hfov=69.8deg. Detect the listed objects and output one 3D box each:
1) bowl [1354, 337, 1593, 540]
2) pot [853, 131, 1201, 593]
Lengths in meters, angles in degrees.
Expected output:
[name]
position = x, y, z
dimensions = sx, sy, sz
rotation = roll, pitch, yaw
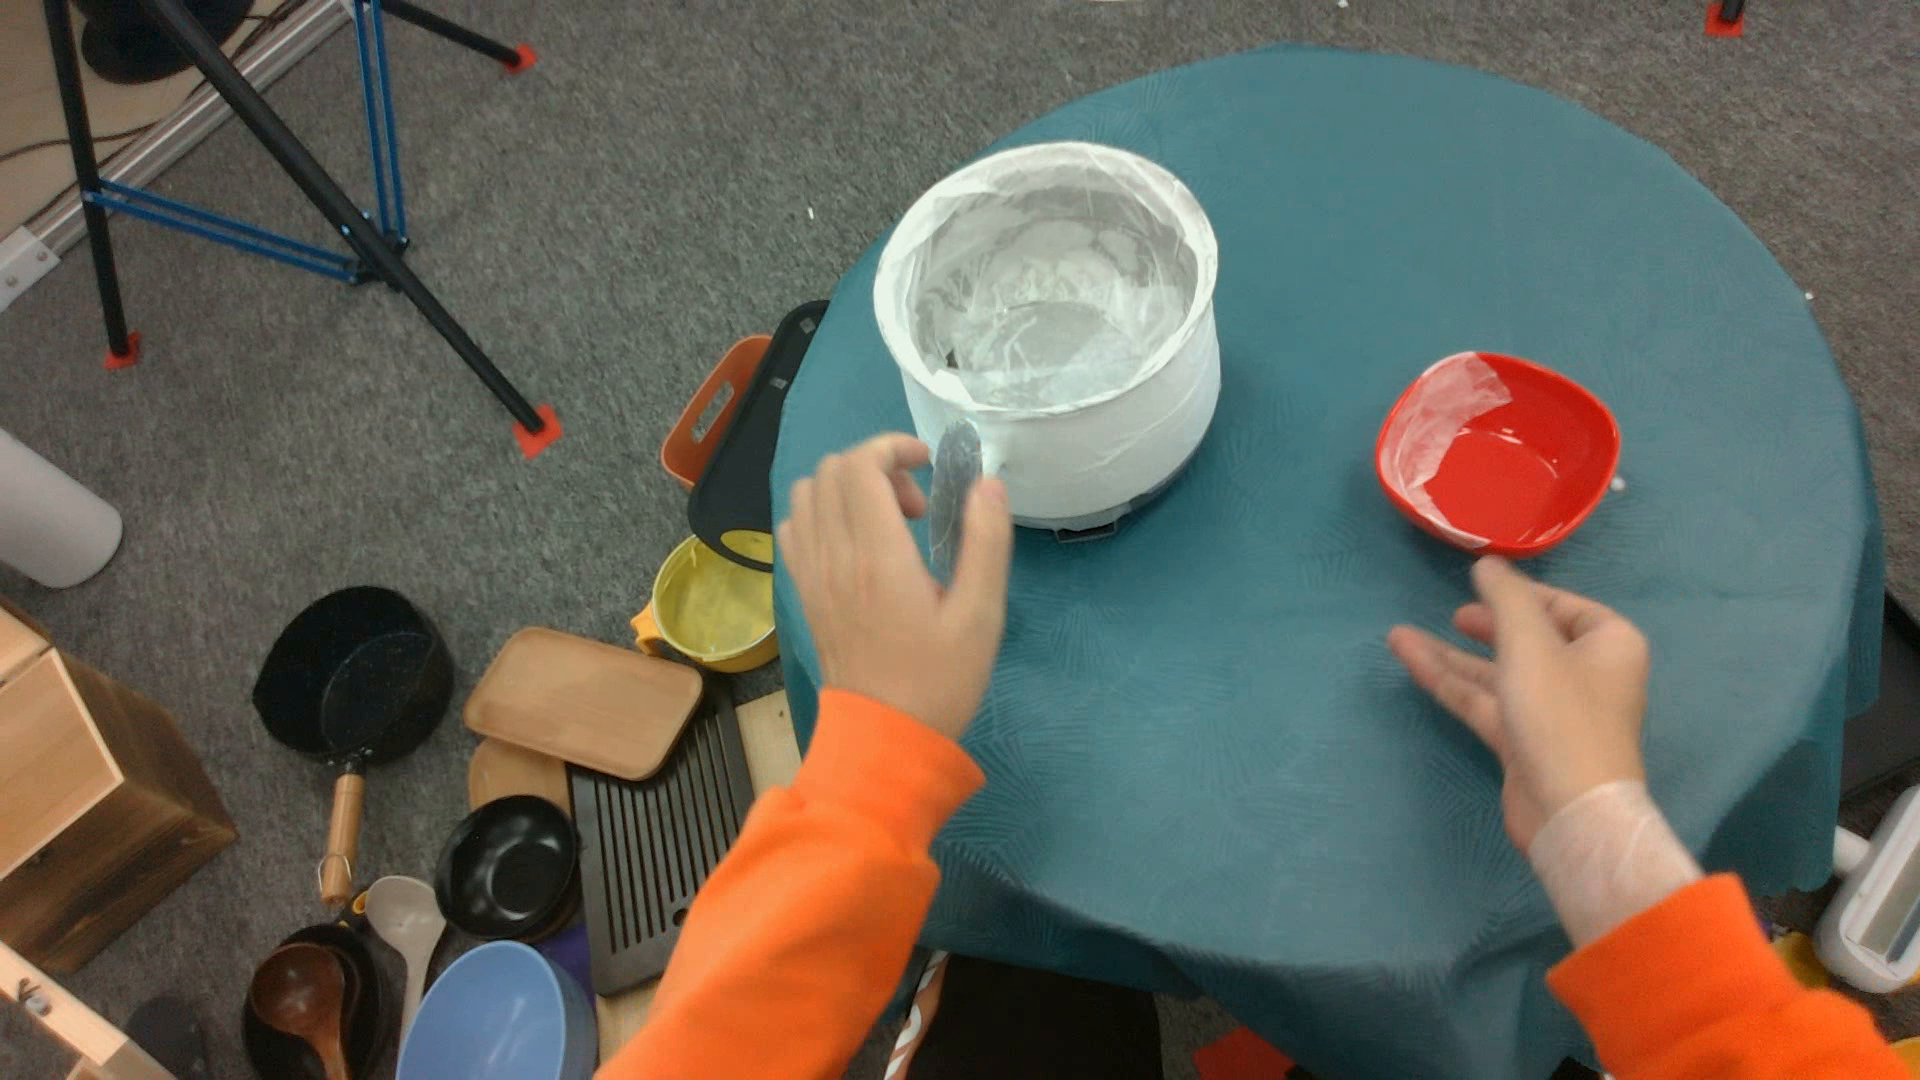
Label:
[bowl]
position = 0.266, -0.046, 0.725
dimensions = 0.119, 0.051, 0.119
rotation = -4, 60, 7
[pot]
position = 0.032, -0.091, 0.747
dimensions = 0.178, 0.136, 0.234
rotation = 15, 65, 19
